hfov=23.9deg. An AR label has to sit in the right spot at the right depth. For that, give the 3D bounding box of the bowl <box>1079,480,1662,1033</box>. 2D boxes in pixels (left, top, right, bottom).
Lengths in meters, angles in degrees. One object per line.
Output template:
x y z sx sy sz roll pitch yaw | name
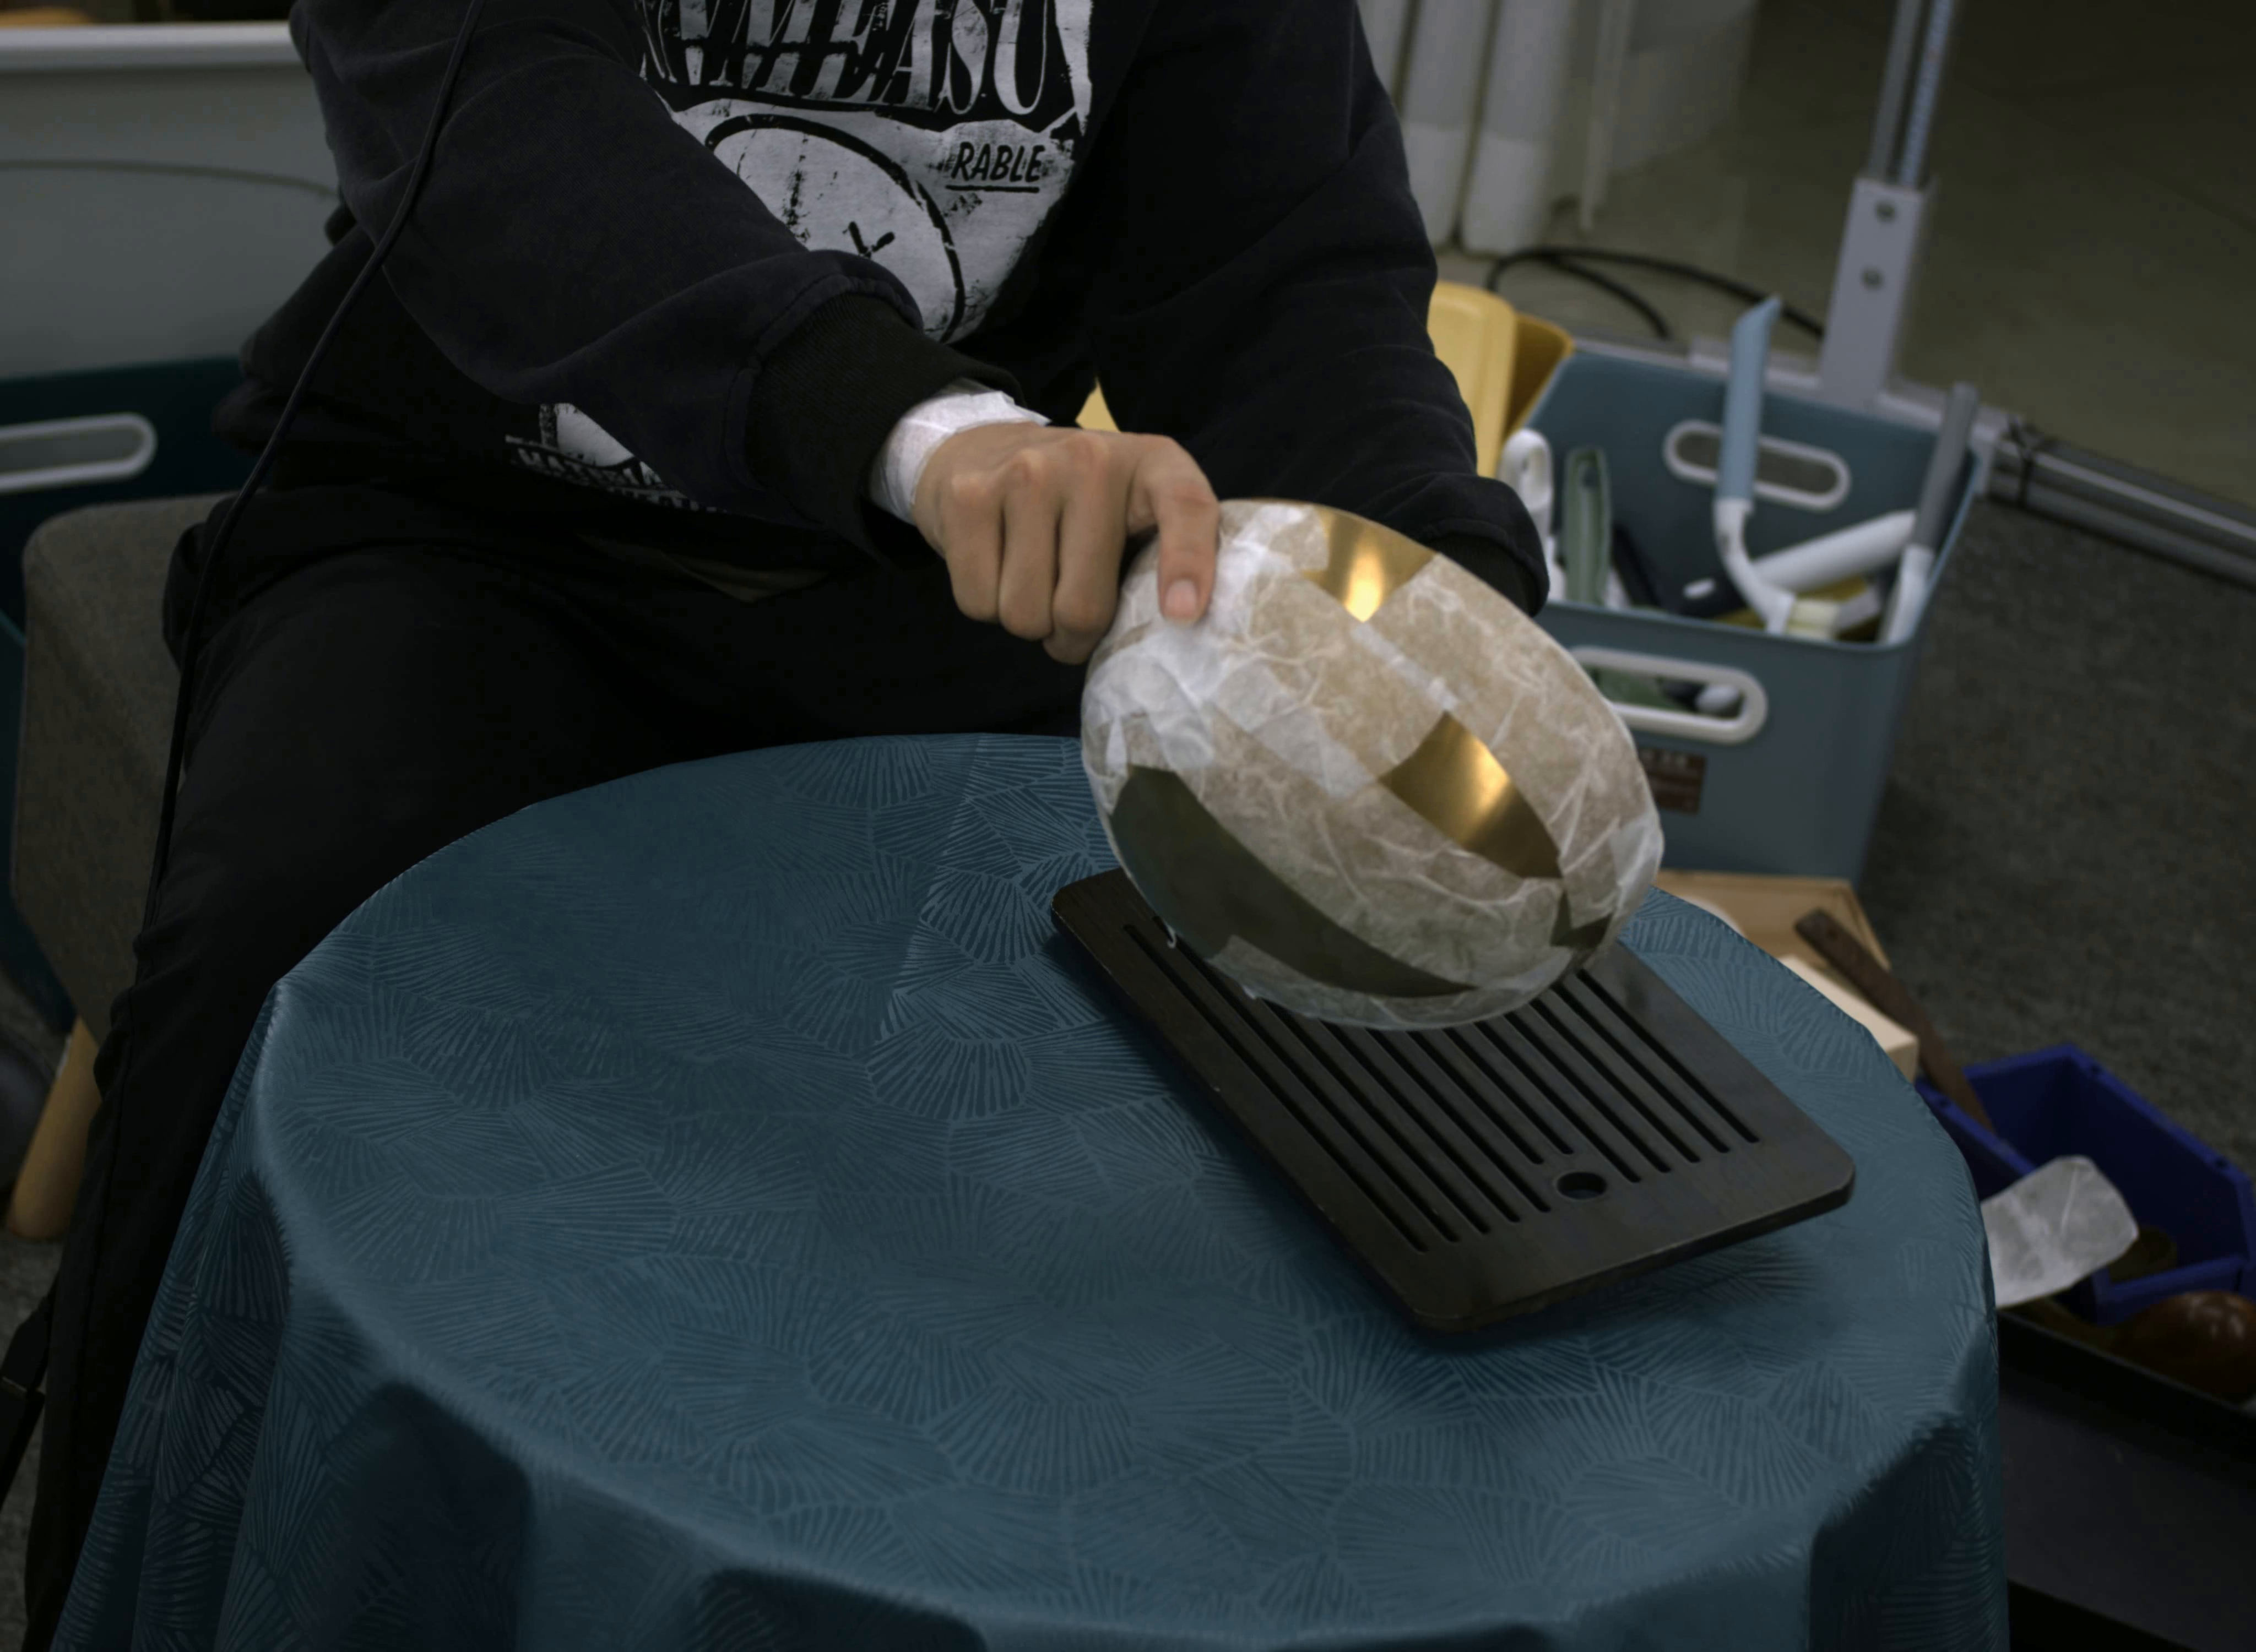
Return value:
0.060 -0.002 1.712 0.216 0.213 0.095 21 56 26 | bowl

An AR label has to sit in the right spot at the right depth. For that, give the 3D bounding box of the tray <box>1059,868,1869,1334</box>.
0.111 0.078 1.867 0.169 0.018 0.309 -16 33 -20 | tray
